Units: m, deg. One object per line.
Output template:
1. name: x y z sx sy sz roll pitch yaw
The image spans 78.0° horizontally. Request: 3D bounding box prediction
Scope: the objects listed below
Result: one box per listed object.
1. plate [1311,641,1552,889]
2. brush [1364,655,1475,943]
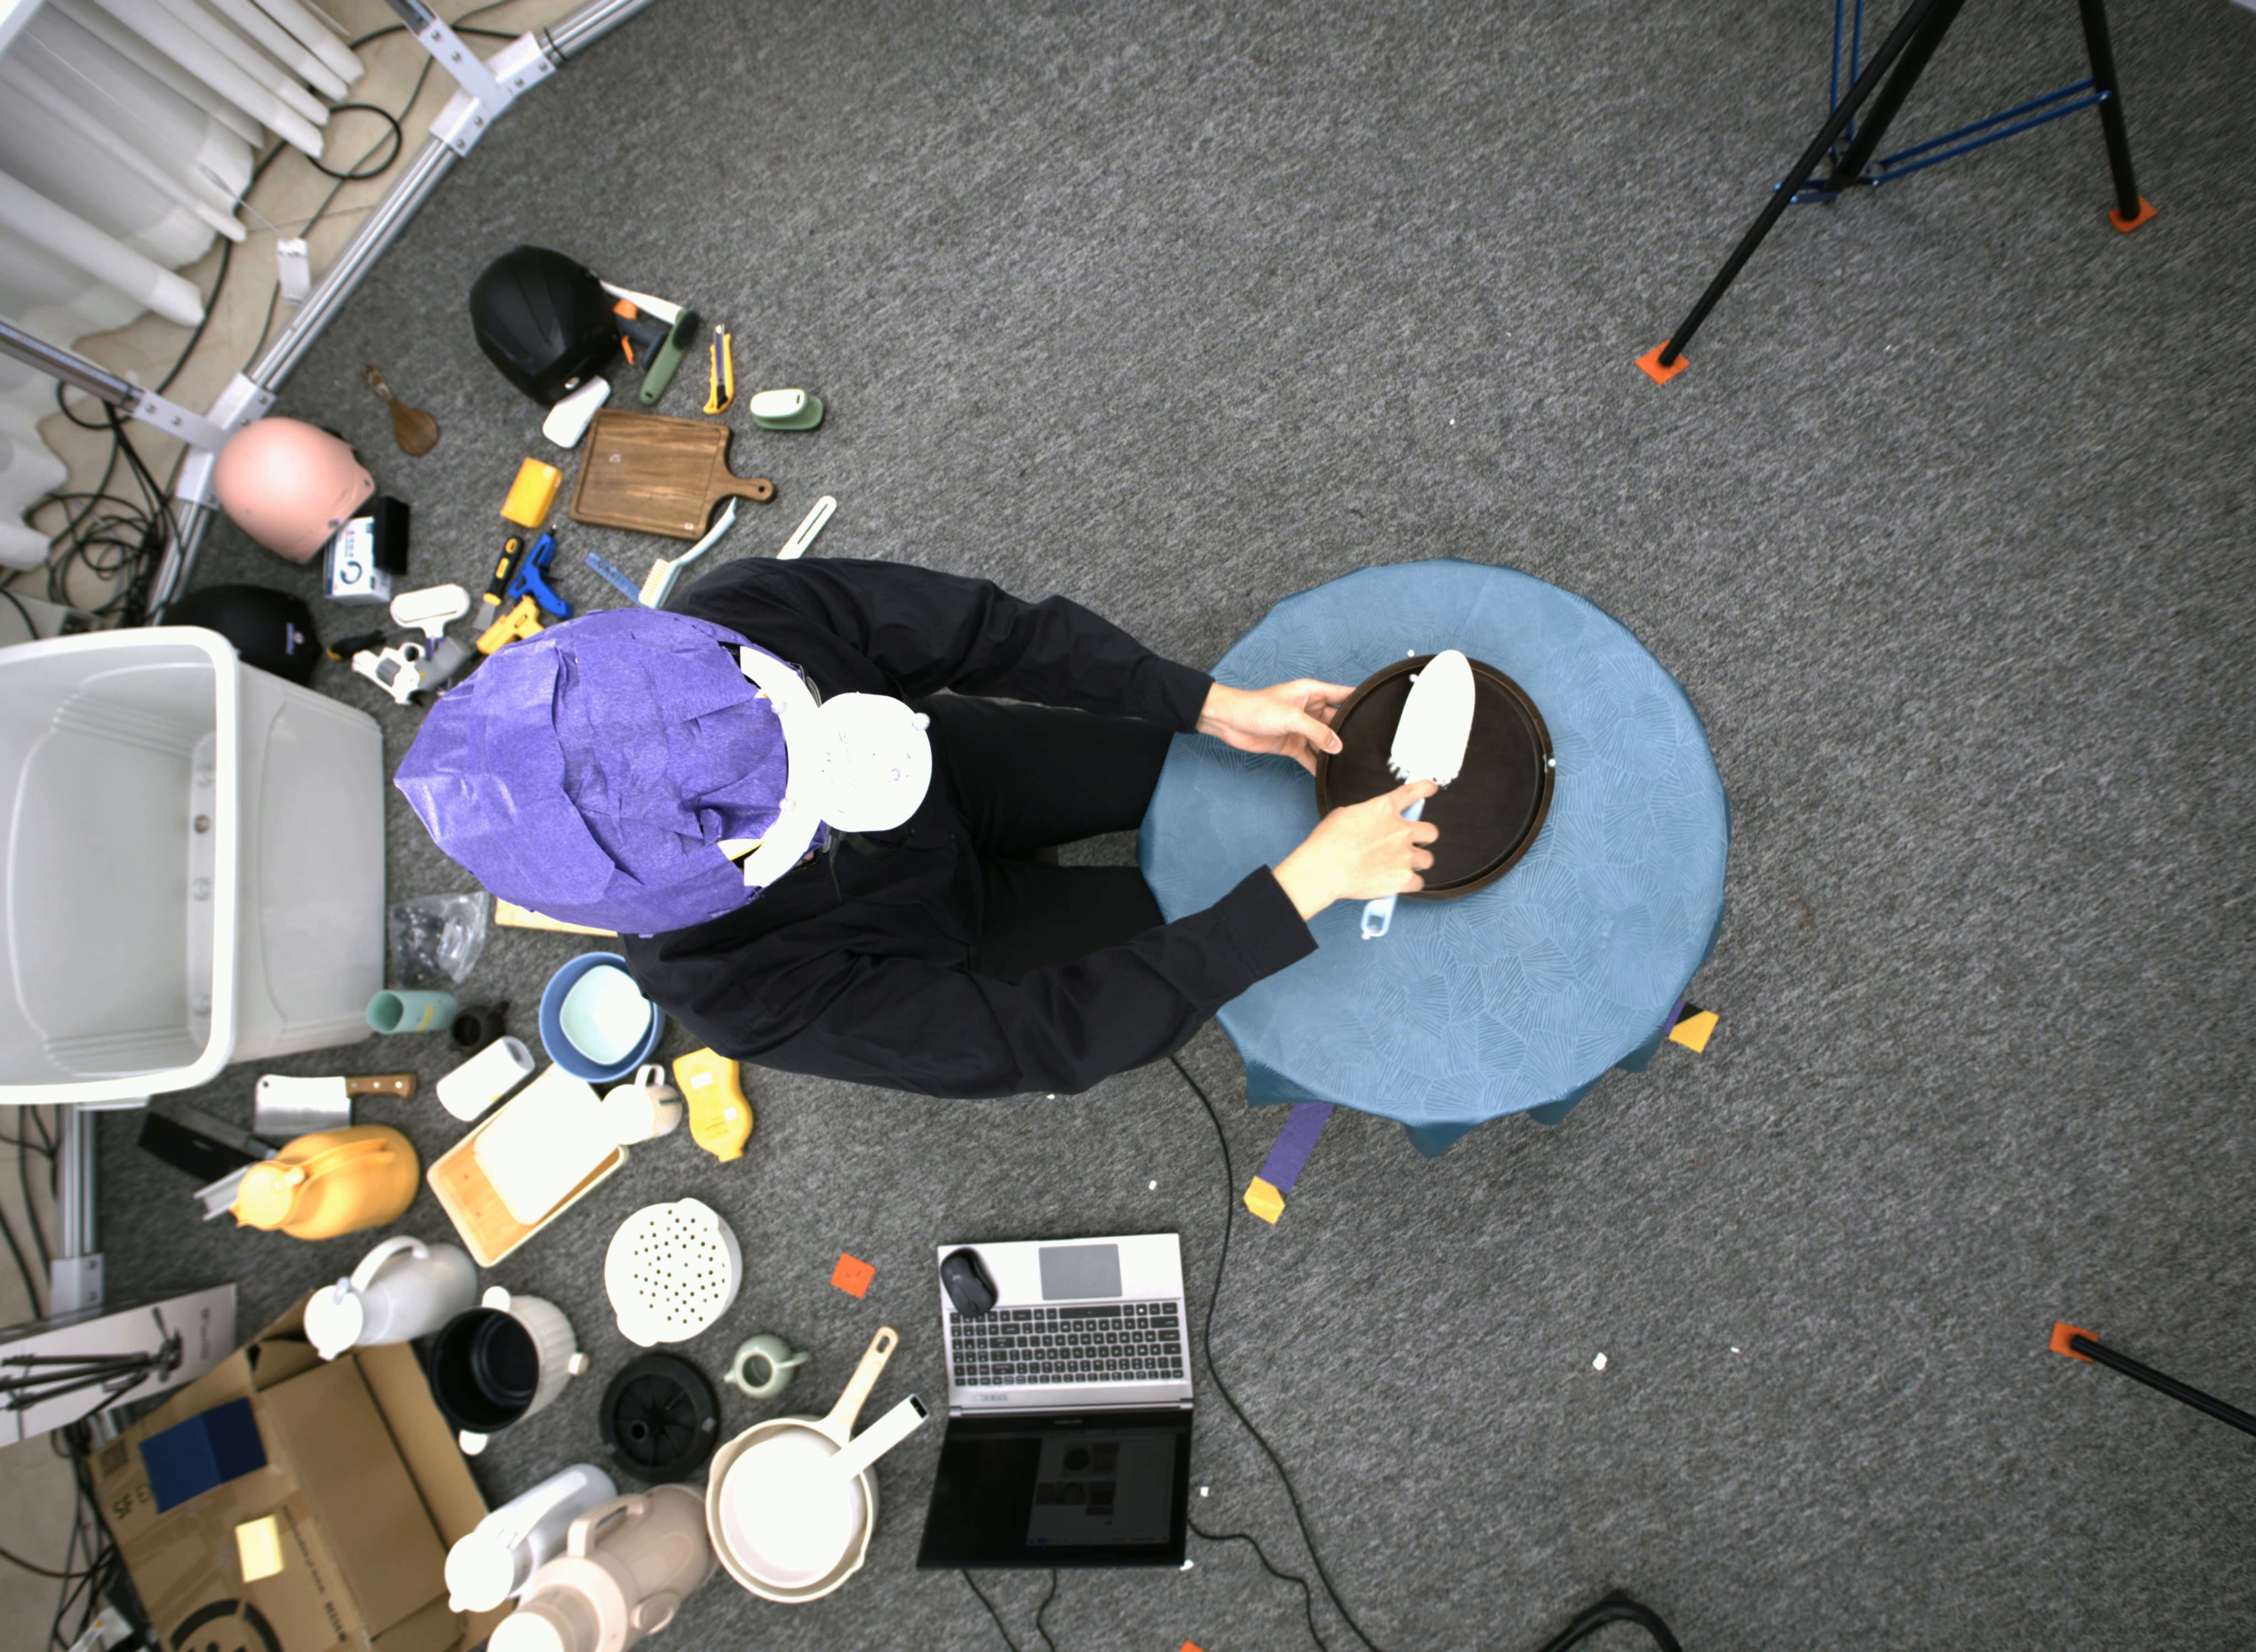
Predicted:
1. plate: 0.309 -0.063 1.400 0.255 0.029 0.257 -1 104 -5
2. brush: 0.270 -0.021 1.313 0.084 0.085 0.319 -9 52 49
